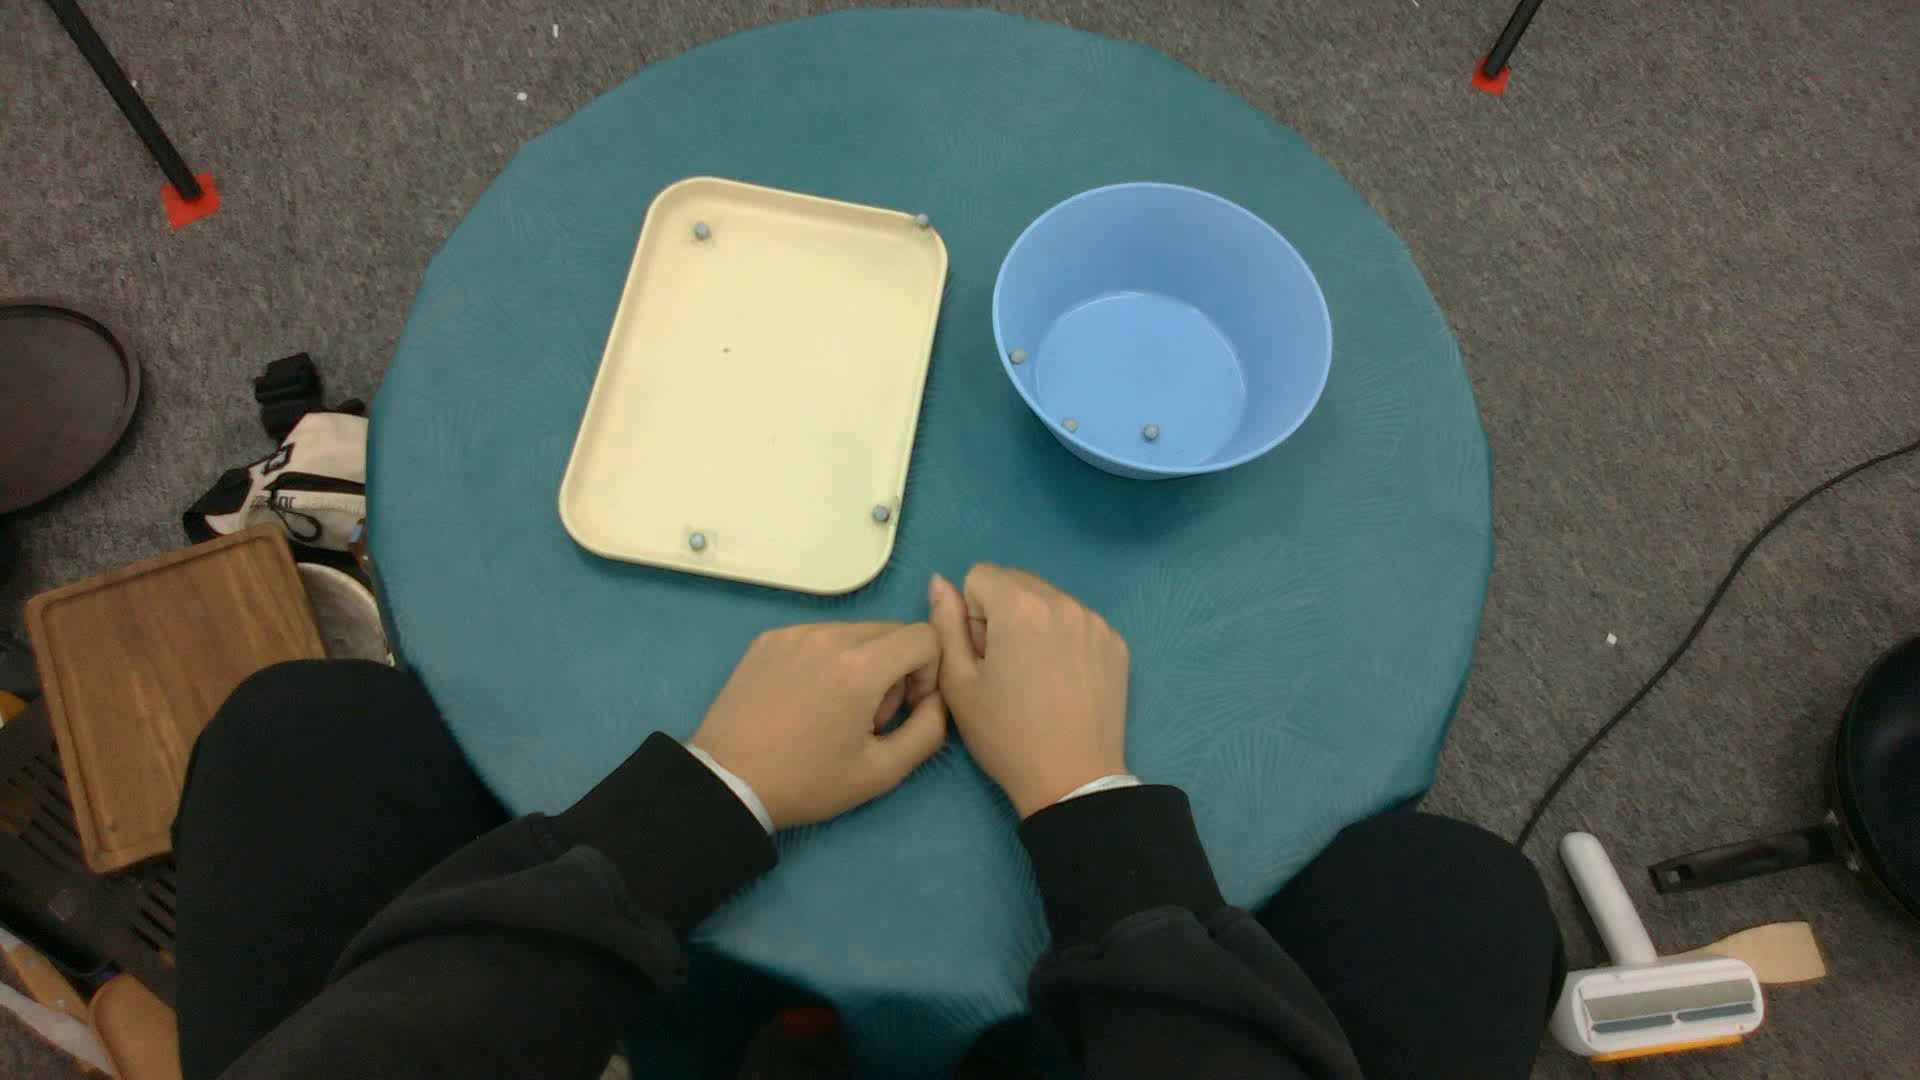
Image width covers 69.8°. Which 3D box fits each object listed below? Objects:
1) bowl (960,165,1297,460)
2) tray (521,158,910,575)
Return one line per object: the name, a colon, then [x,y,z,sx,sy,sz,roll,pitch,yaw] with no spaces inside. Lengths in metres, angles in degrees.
bowl: [0.085,-0.110,0.736,0.176,0.070,0.176,2,65,-5]
tray: [-0.124,-0.097,0.735,0.171,0.017,0.240,10,65,-2]
